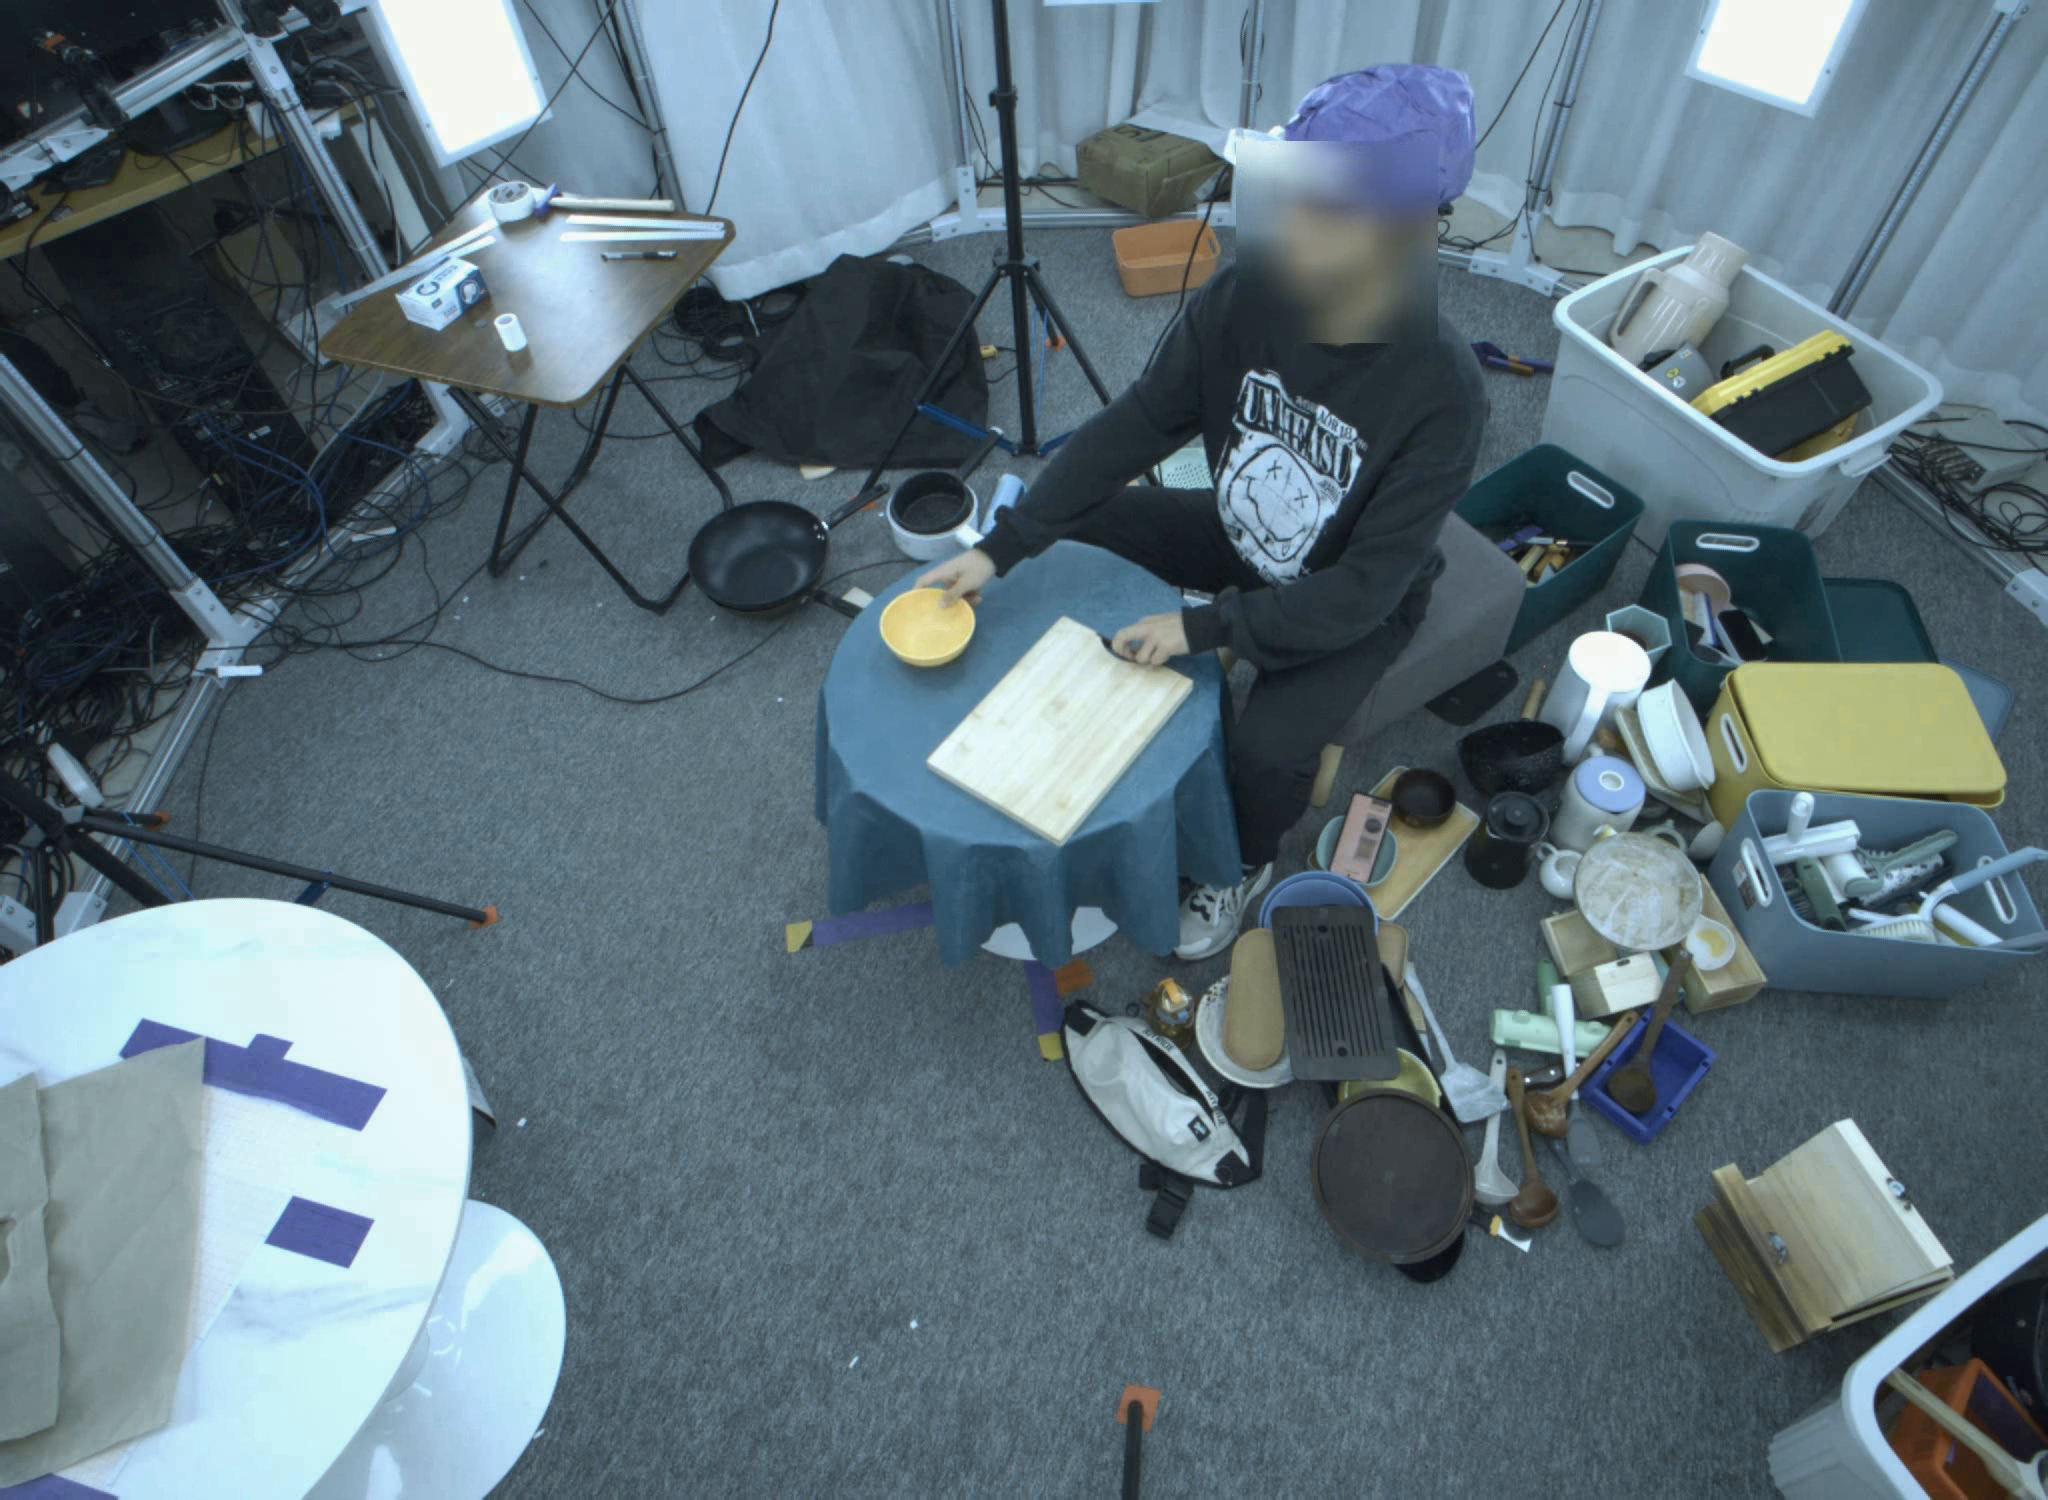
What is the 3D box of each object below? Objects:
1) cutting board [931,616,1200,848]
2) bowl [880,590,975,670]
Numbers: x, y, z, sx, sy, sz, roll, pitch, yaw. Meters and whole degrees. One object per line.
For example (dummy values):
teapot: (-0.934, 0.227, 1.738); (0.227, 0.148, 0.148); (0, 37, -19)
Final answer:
cutting board: (0.063, -0.037, 1.812); (0.247, 0.024, 0.350); (29, 61, 20)
bowl: (-0.147, -0.173, 1.888); (0.145, 0.060, 0.144); (2, 56, -2)
